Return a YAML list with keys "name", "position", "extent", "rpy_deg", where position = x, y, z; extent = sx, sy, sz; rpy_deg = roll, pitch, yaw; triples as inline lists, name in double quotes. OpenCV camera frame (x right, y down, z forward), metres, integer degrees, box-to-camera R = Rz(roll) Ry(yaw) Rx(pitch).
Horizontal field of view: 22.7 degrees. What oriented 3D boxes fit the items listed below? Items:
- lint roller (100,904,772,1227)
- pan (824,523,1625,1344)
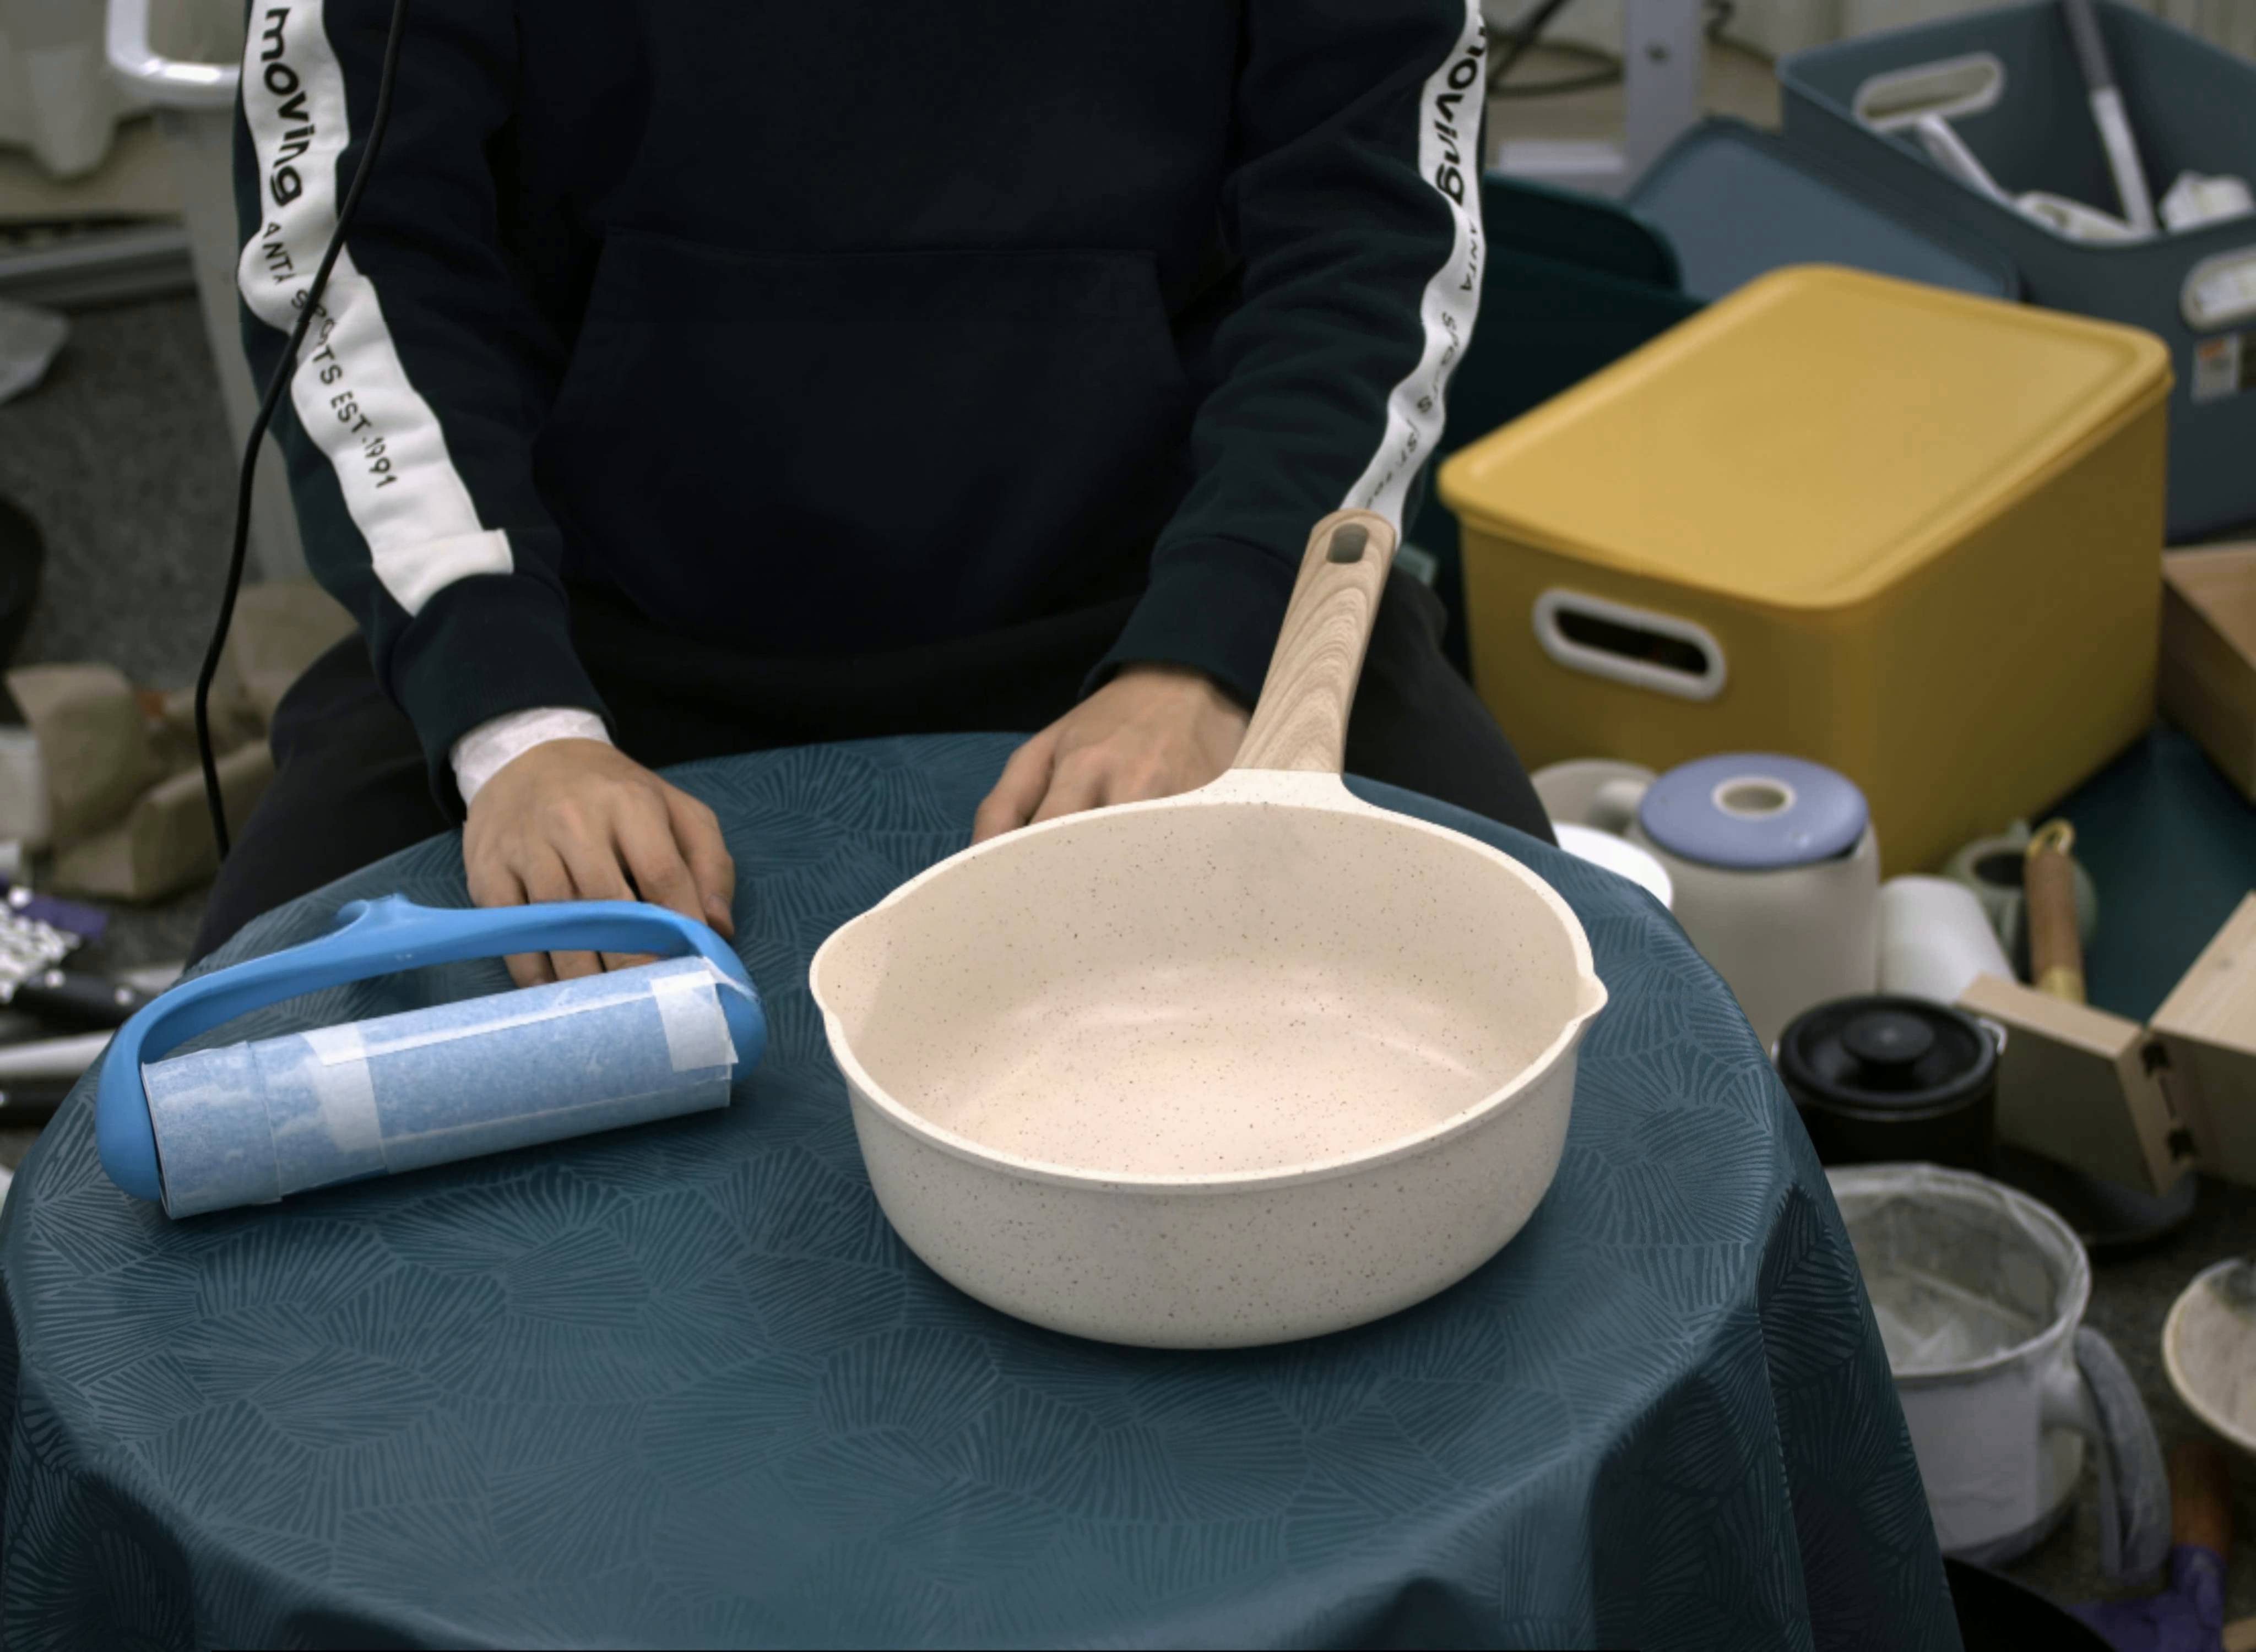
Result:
- name: "lint roller"
  position: [-0.251, 0.062, 1.938]
  extent: [0.229, 0.067, 0.182]
  rpy_deg: [-14, 30, -16]
- name: "pan"
  position: [0.049, 0.034, 1.918]
  extent: [0.261, 0.101, 0.442]
  rpy_deg: [1, 28, 11]
